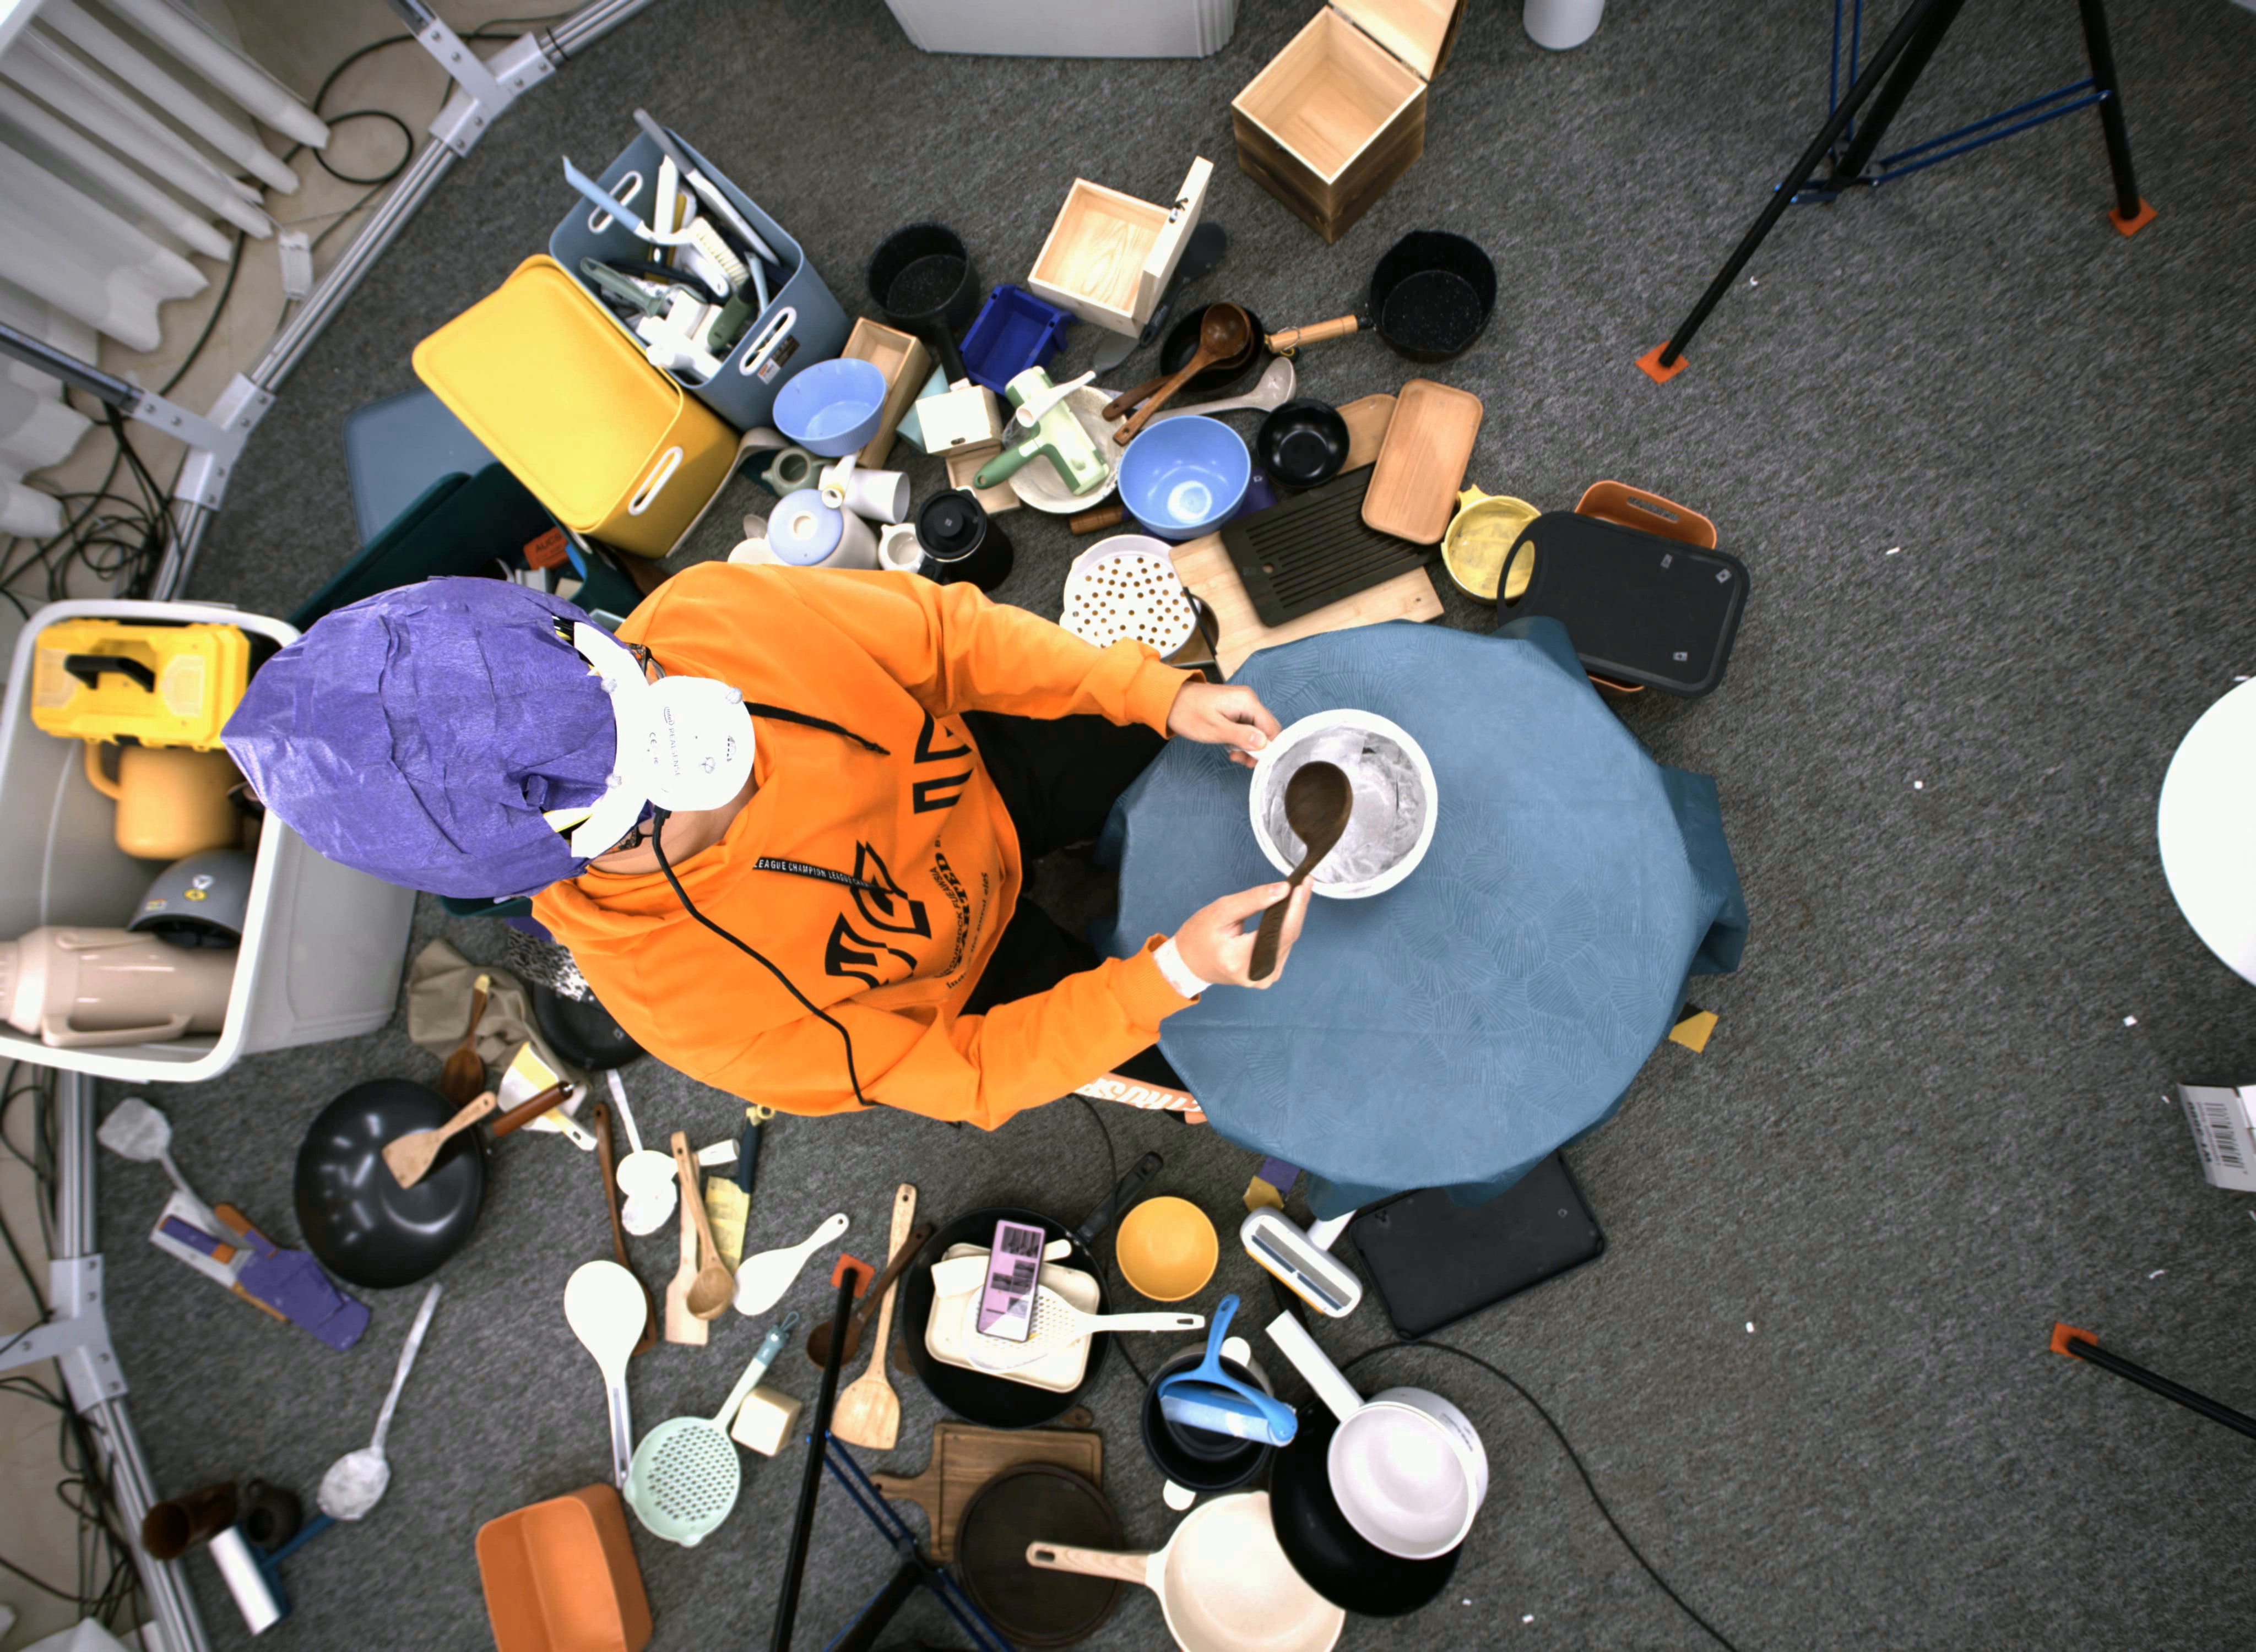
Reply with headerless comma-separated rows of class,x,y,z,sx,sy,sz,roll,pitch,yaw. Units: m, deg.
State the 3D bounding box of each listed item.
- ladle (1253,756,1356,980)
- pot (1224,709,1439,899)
ladle,0.141,0.027,1.214,0.071,0.267,0.077,48,129,-9
pot,0.192,-0.033,1.367,0.233,0.136,0.179,34,93,12
